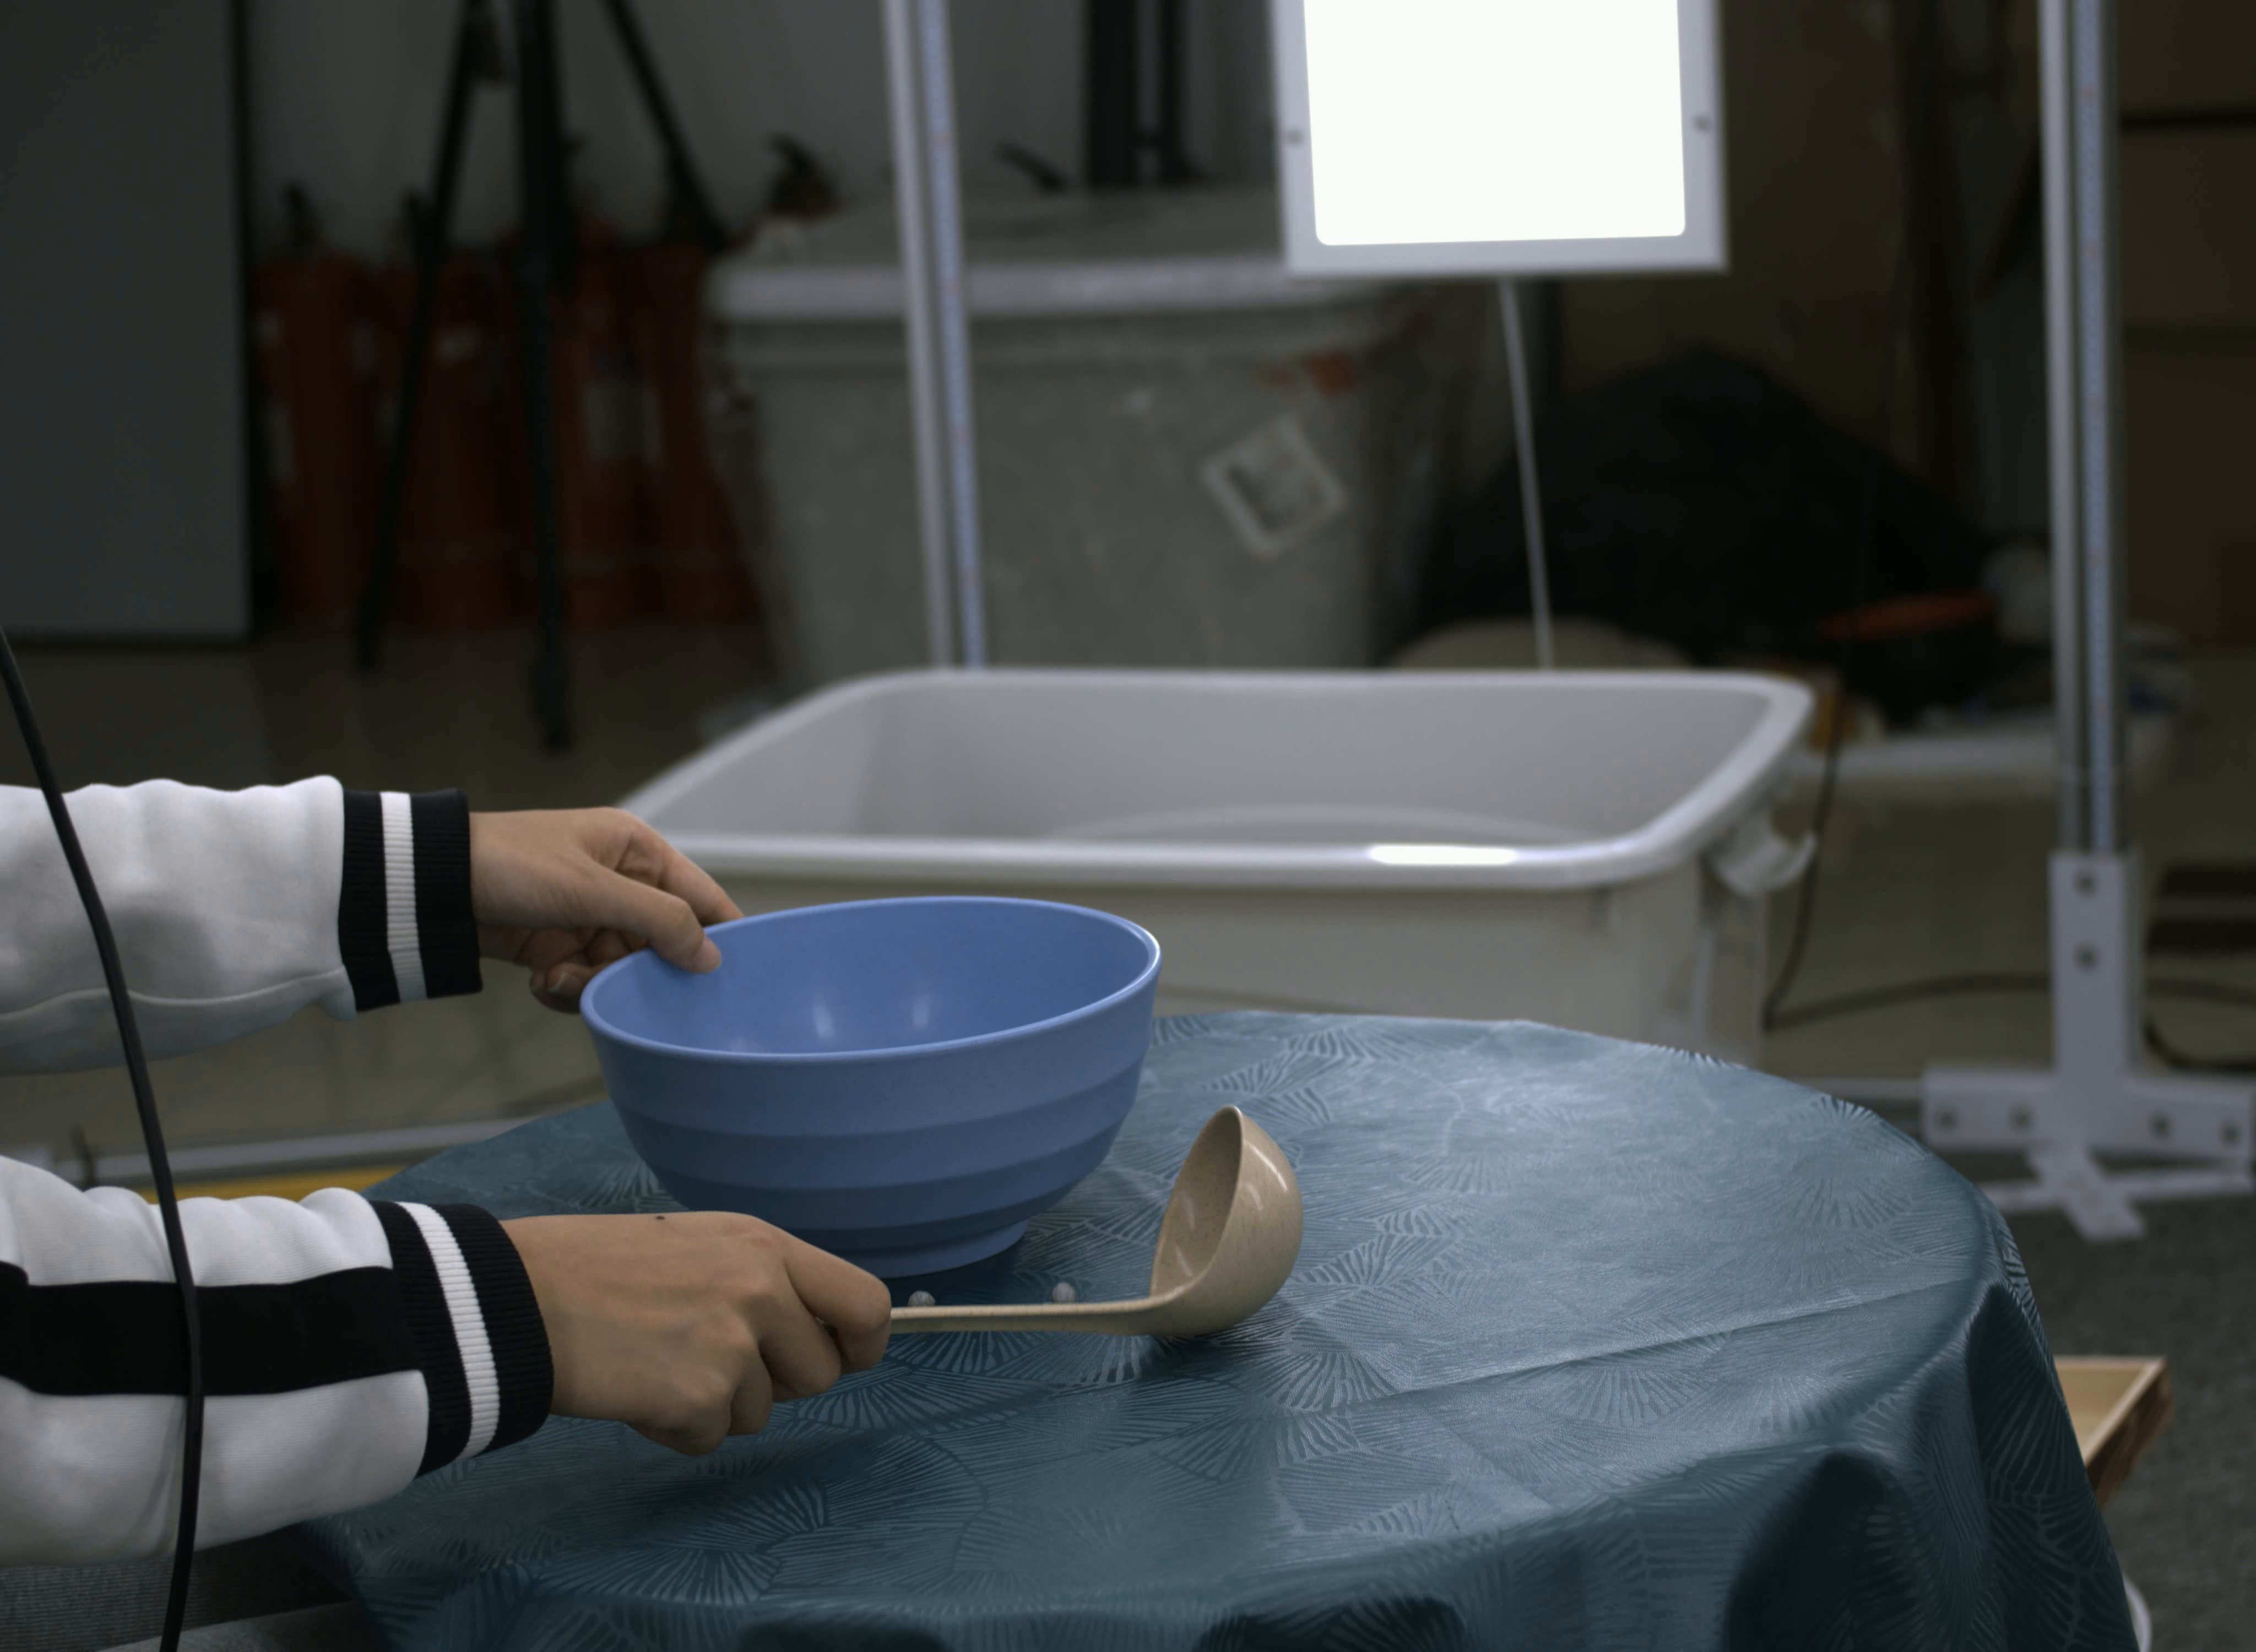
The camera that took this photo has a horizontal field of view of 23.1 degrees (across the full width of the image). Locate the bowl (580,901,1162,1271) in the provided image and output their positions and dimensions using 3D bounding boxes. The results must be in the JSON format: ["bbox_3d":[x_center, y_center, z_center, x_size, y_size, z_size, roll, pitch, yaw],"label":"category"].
[{"bbox_3d":[-0.085,0.092,1.861,0.196,0.096,0.196,-2,12,-1],"label":"bowl"}]

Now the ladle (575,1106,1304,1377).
[{"bbox_3d":[-0.062,0.127,1.698,0.249,0.073,0.073,-1,-29,-28],"label":"ladle"}]
